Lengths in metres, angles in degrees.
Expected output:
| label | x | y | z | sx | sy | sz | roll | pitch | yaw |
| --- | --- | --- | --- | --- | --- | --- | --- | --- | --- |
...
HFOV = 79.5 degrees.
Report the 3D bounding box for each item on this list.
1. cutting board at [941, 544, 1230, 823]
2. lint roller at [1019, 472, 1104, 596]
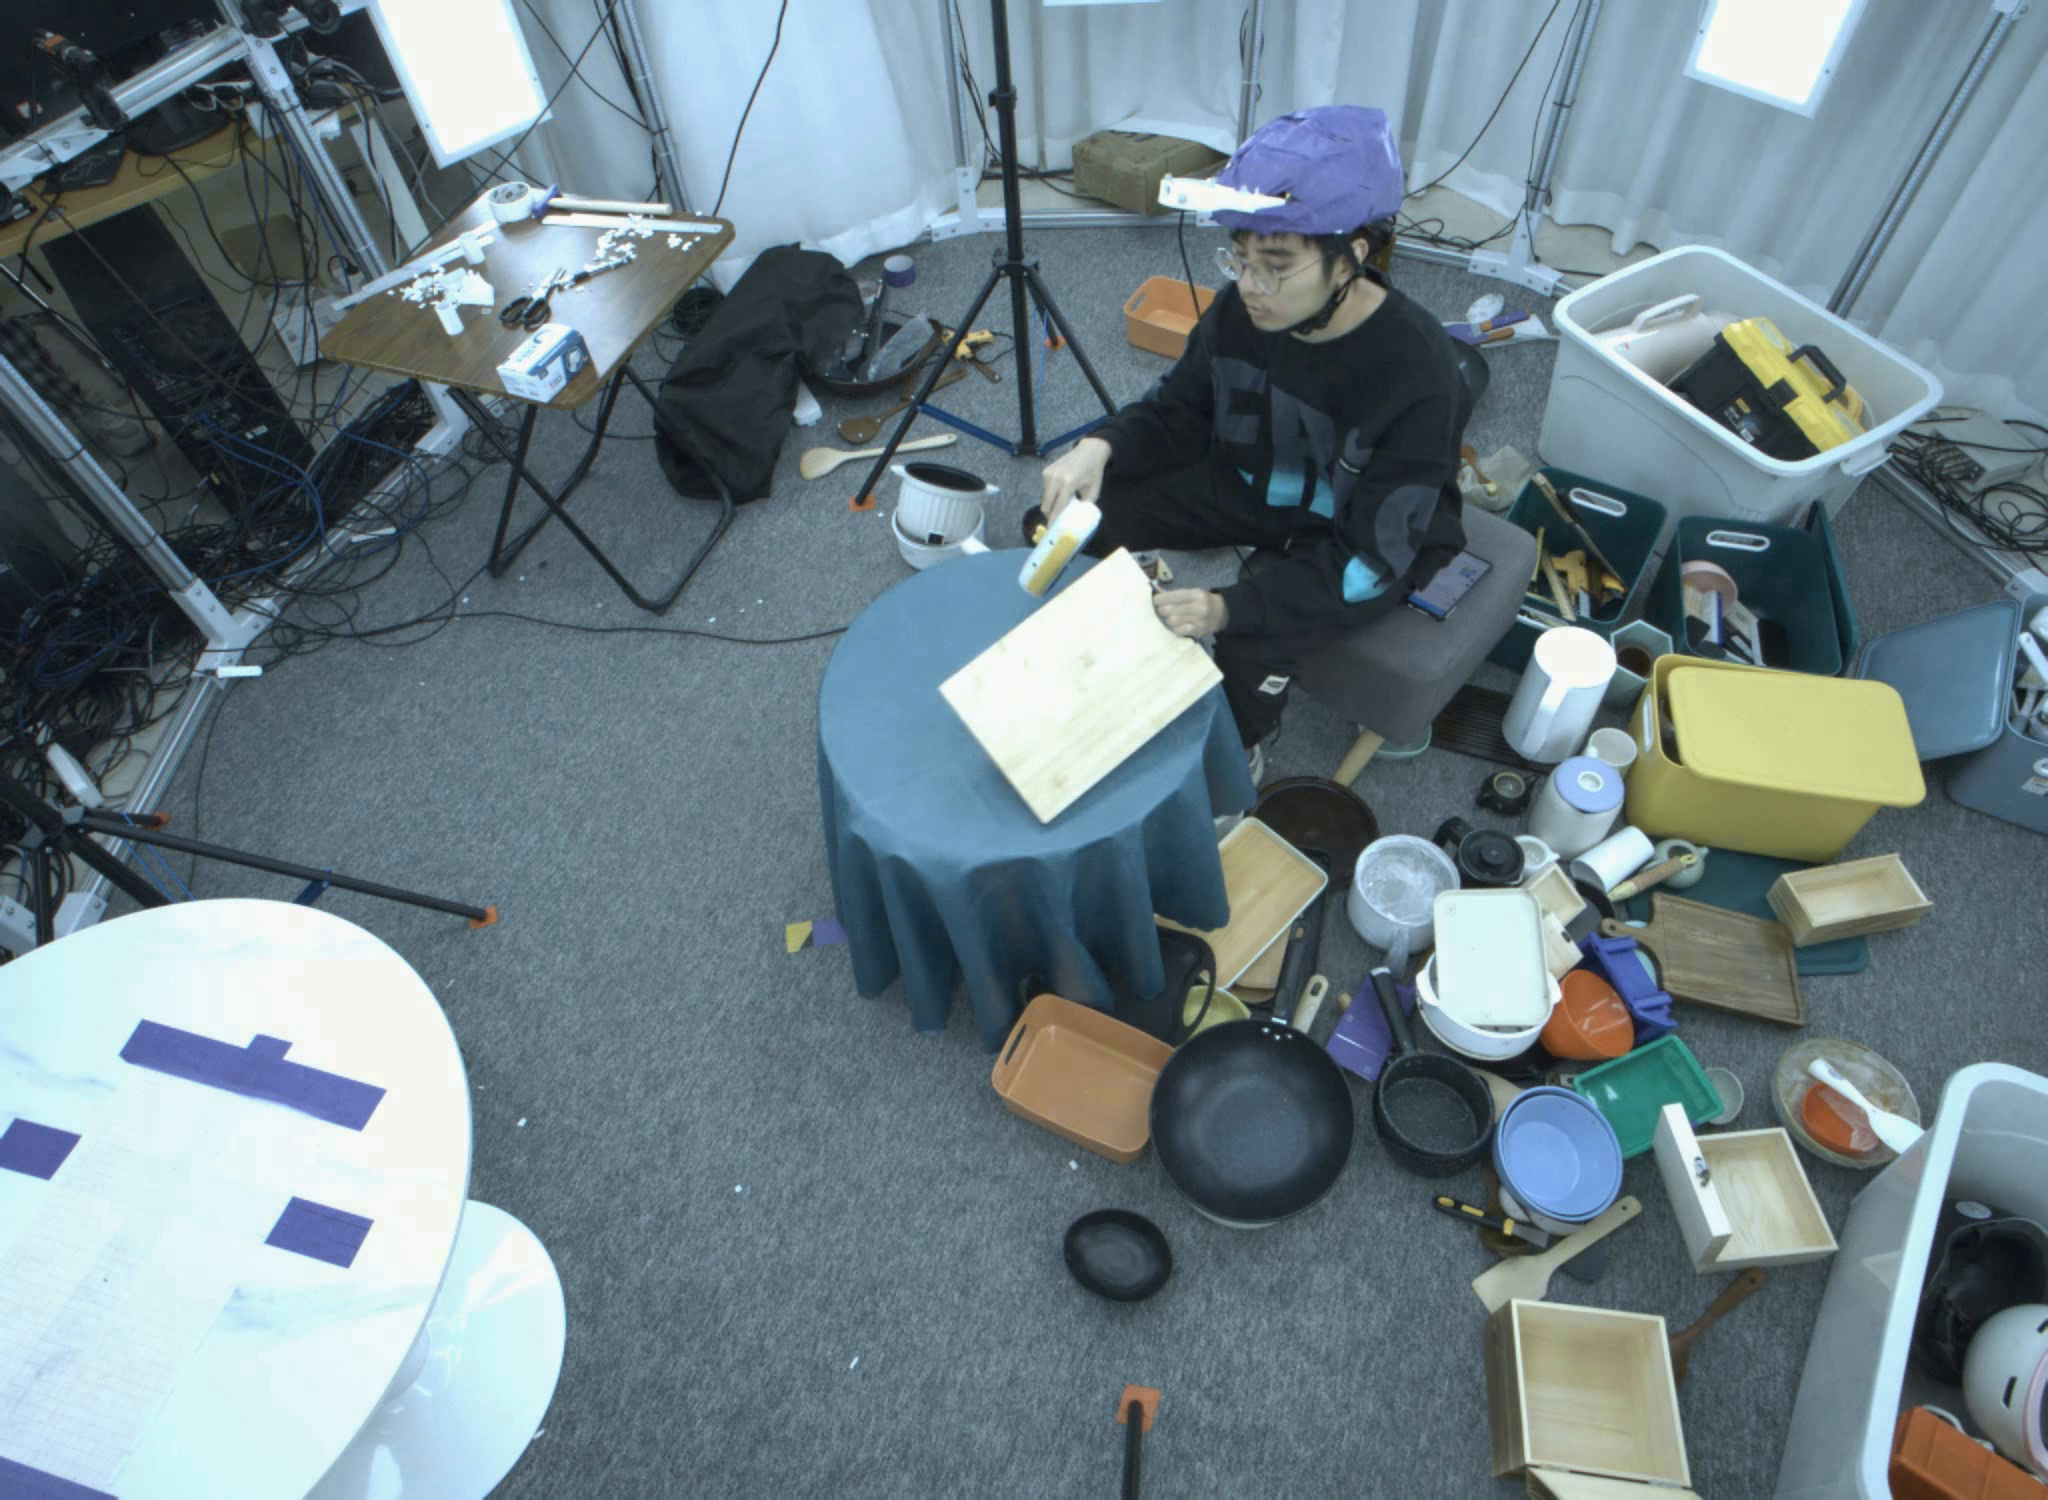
| label | x | y | z | sx | sy | sz | roll | pitch | yaw |
| --- | --- | --- | --- | --- | --- | --- | --- | --- | --- |
| cutting board | 0.088 | -0.097 | 1.732 | 0.350 | 0.023 | 0.252 | -39 | 96 | -13 |
| lint roller | 0.061 | -0.348 | 1.851 | 0.075 | 0.192 | 0.192 | 26 | 50 | -7 |
